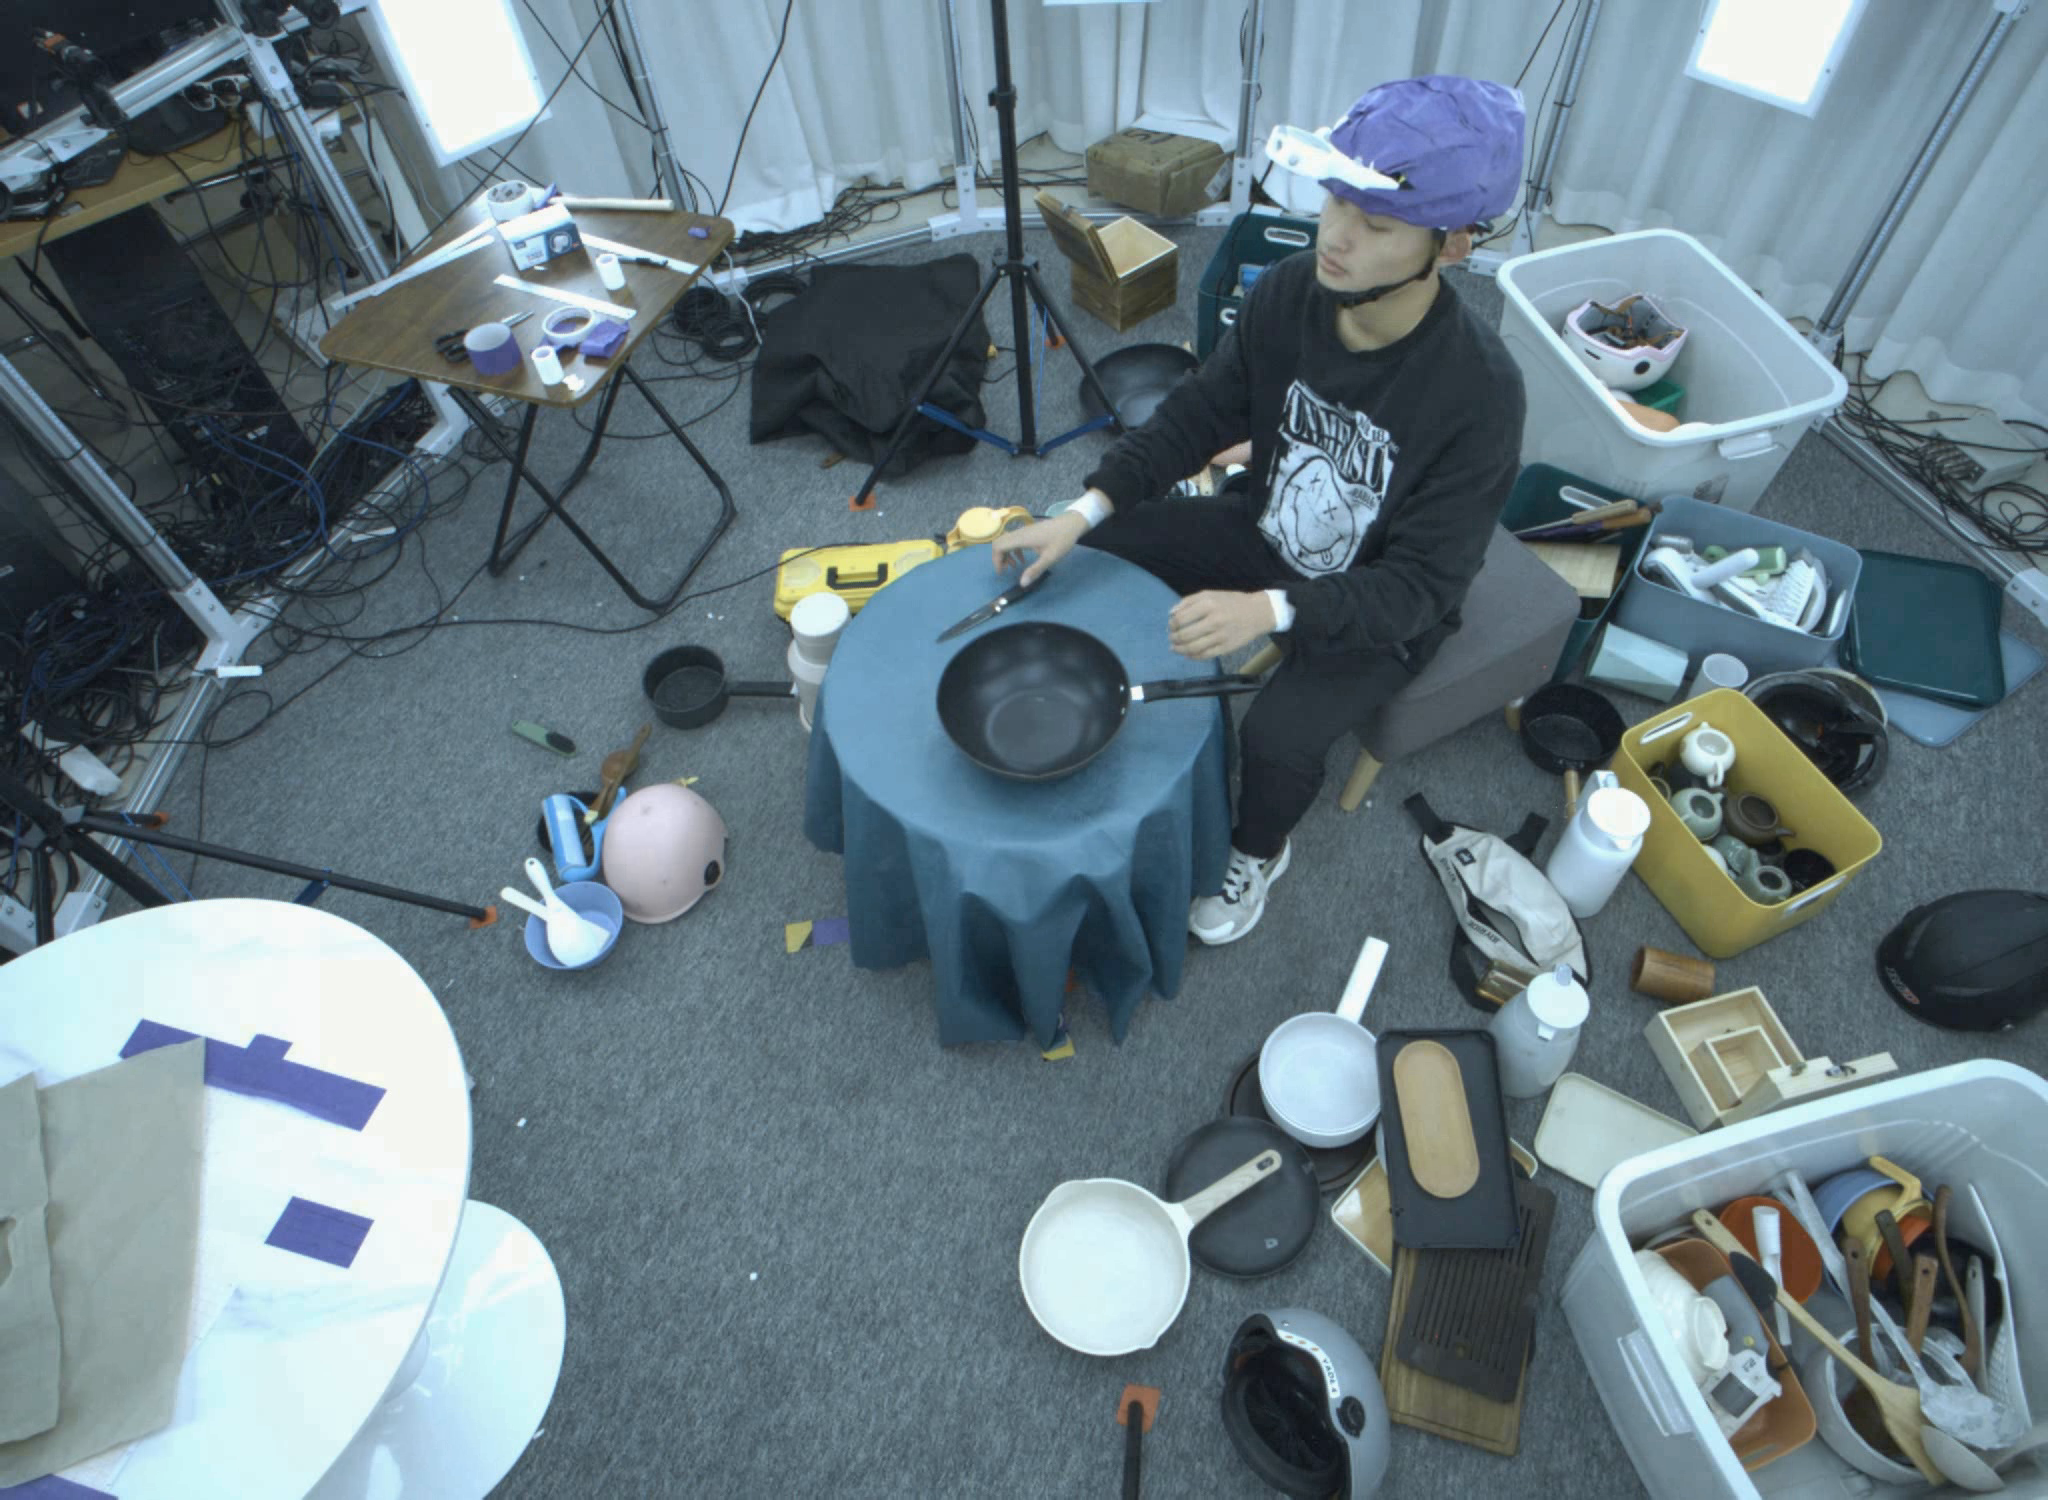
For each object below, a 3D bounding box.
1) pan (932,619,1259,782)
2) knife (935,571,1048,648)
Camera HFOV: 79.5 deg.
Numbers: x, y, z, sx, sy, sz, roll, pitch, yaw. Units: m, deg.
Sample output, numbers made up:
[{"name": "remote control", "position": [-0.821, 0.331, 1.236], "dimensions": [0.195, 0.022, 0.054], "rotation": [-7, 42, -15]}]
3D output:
[{"name": "pan", "position": [0.102, -0.062, 1.775], "dimensions": [0.464, 0.088, 0.285], "rotation": [-2, 54, -1]}, {"name": "knife", "position": [-0.052, -0.223, 1.939], "dimensions": [0.227, 0.017, 0.026], "rotation": [-33, 75, -19]}]
